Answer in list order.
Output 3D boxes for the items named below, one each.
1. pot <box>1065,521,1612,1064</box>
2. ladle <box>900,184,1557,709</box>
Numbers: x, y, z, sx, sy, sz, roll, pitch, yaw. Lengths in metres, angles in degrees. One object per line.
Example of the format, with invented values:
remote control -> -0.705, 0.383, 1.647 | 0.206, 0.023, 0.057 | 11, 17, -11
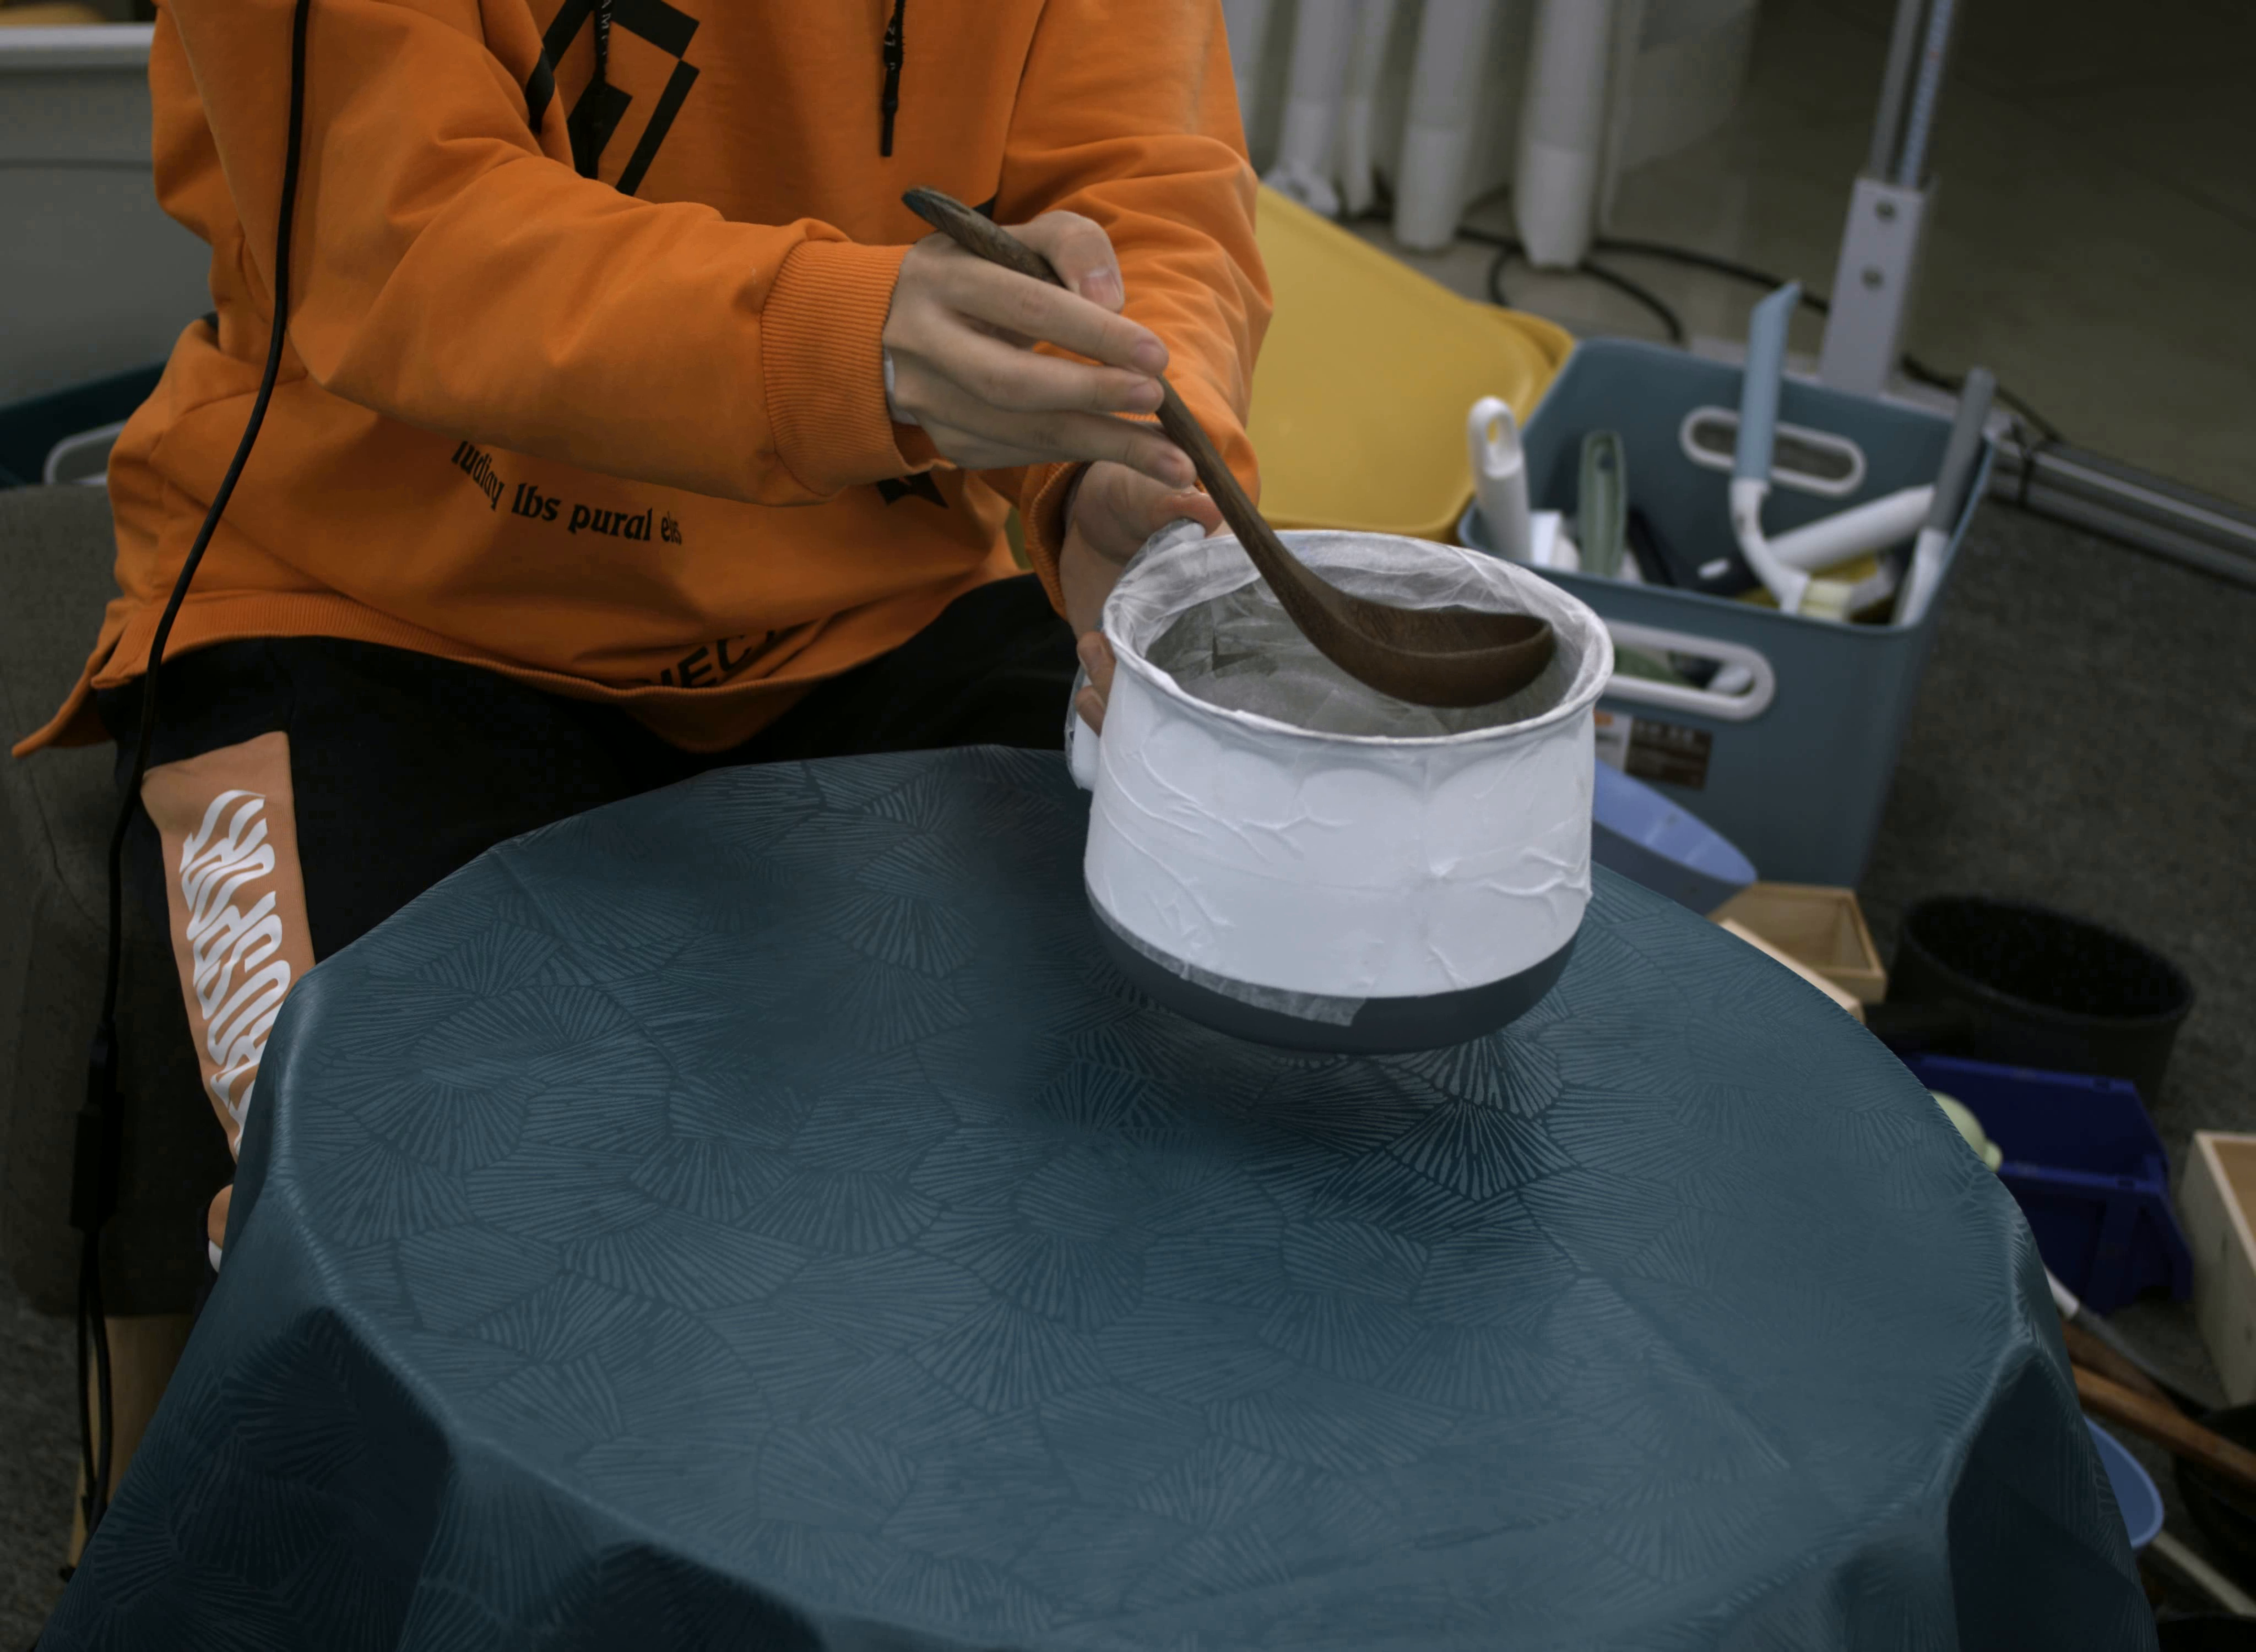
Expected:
pot -> 0.057, -0.019, 1.876 | 0.177, 0.136, 0.235 | -15, 31, -35
ladle -> 0.037, -0.142, 1.848 | 0.274, 0.071, 0.076 | 48, 11, -3
